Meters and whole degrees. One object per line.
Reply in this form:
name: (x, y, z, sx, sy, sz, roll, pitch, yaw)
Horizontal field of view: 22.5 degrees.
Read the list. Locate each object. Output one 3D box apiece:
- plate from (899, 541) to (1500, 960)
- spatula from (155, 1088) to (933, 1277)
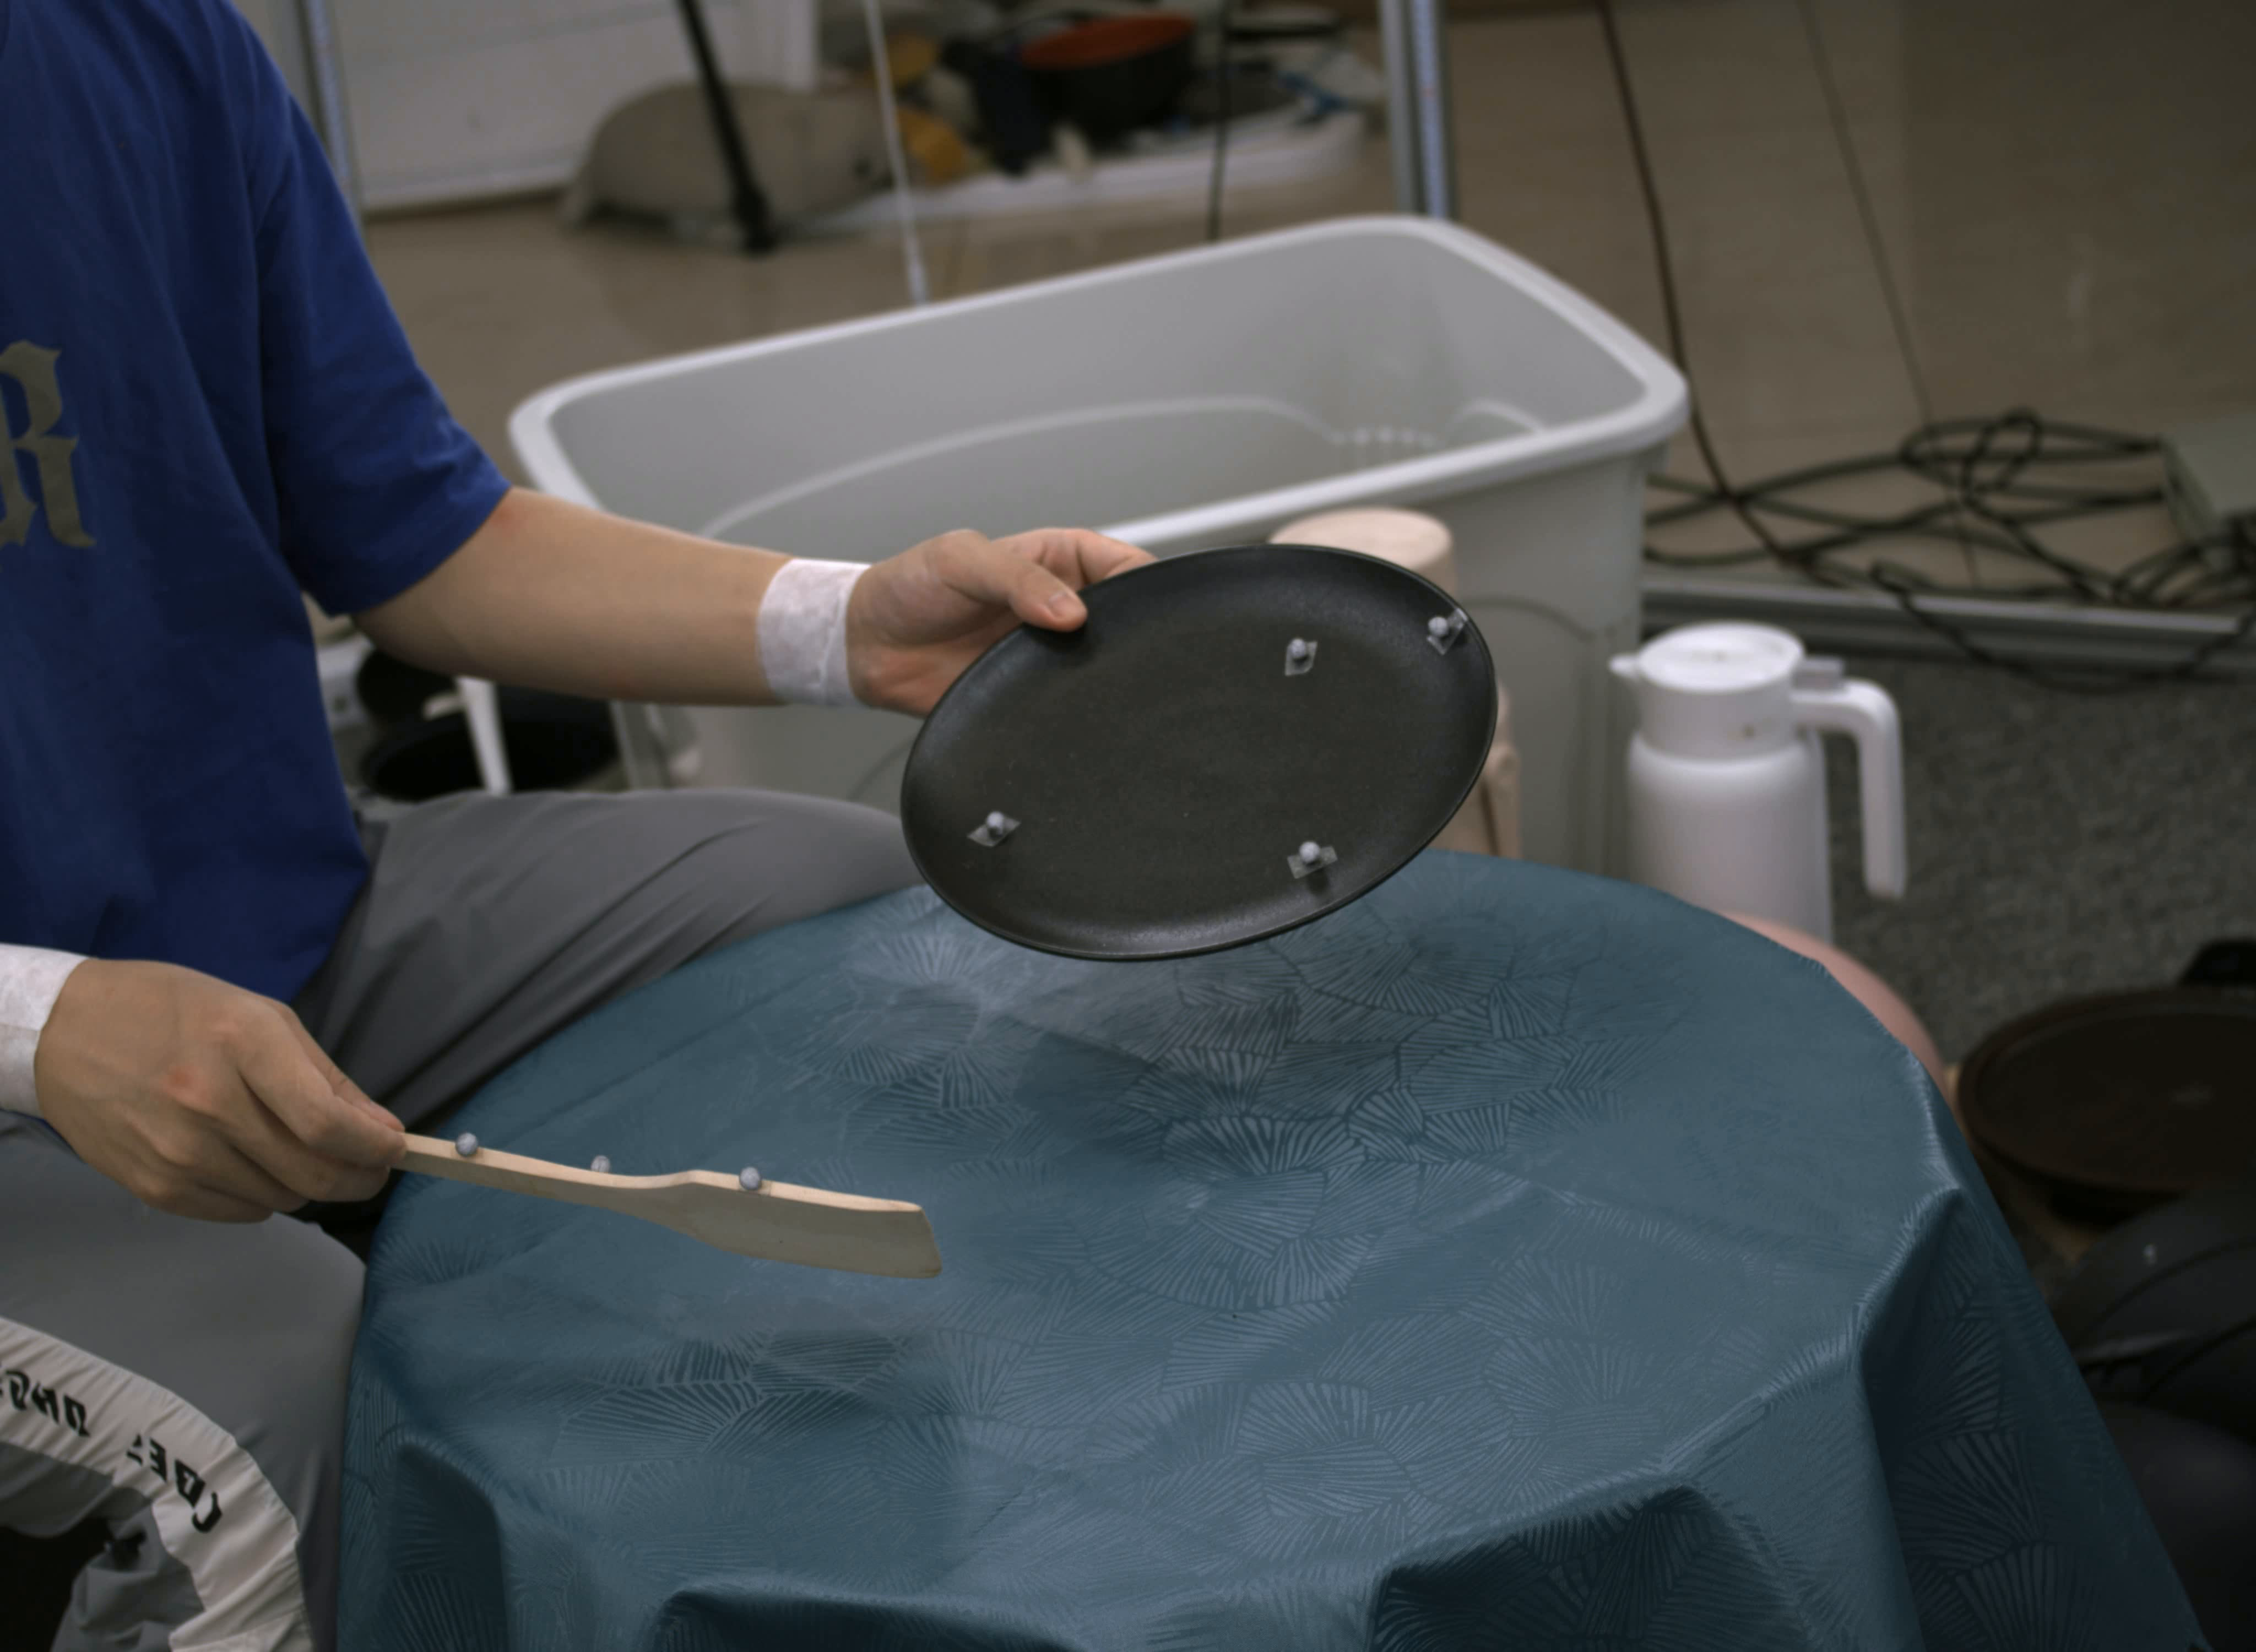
plate: (0.029, -0.026, 2.236, 0.244, 0.024, 0.240, -10, 42, 9)
spatula: (-0.215, 0.126, 2.055, 0.292, 0.073, 0.010, 10, 69, 10)
